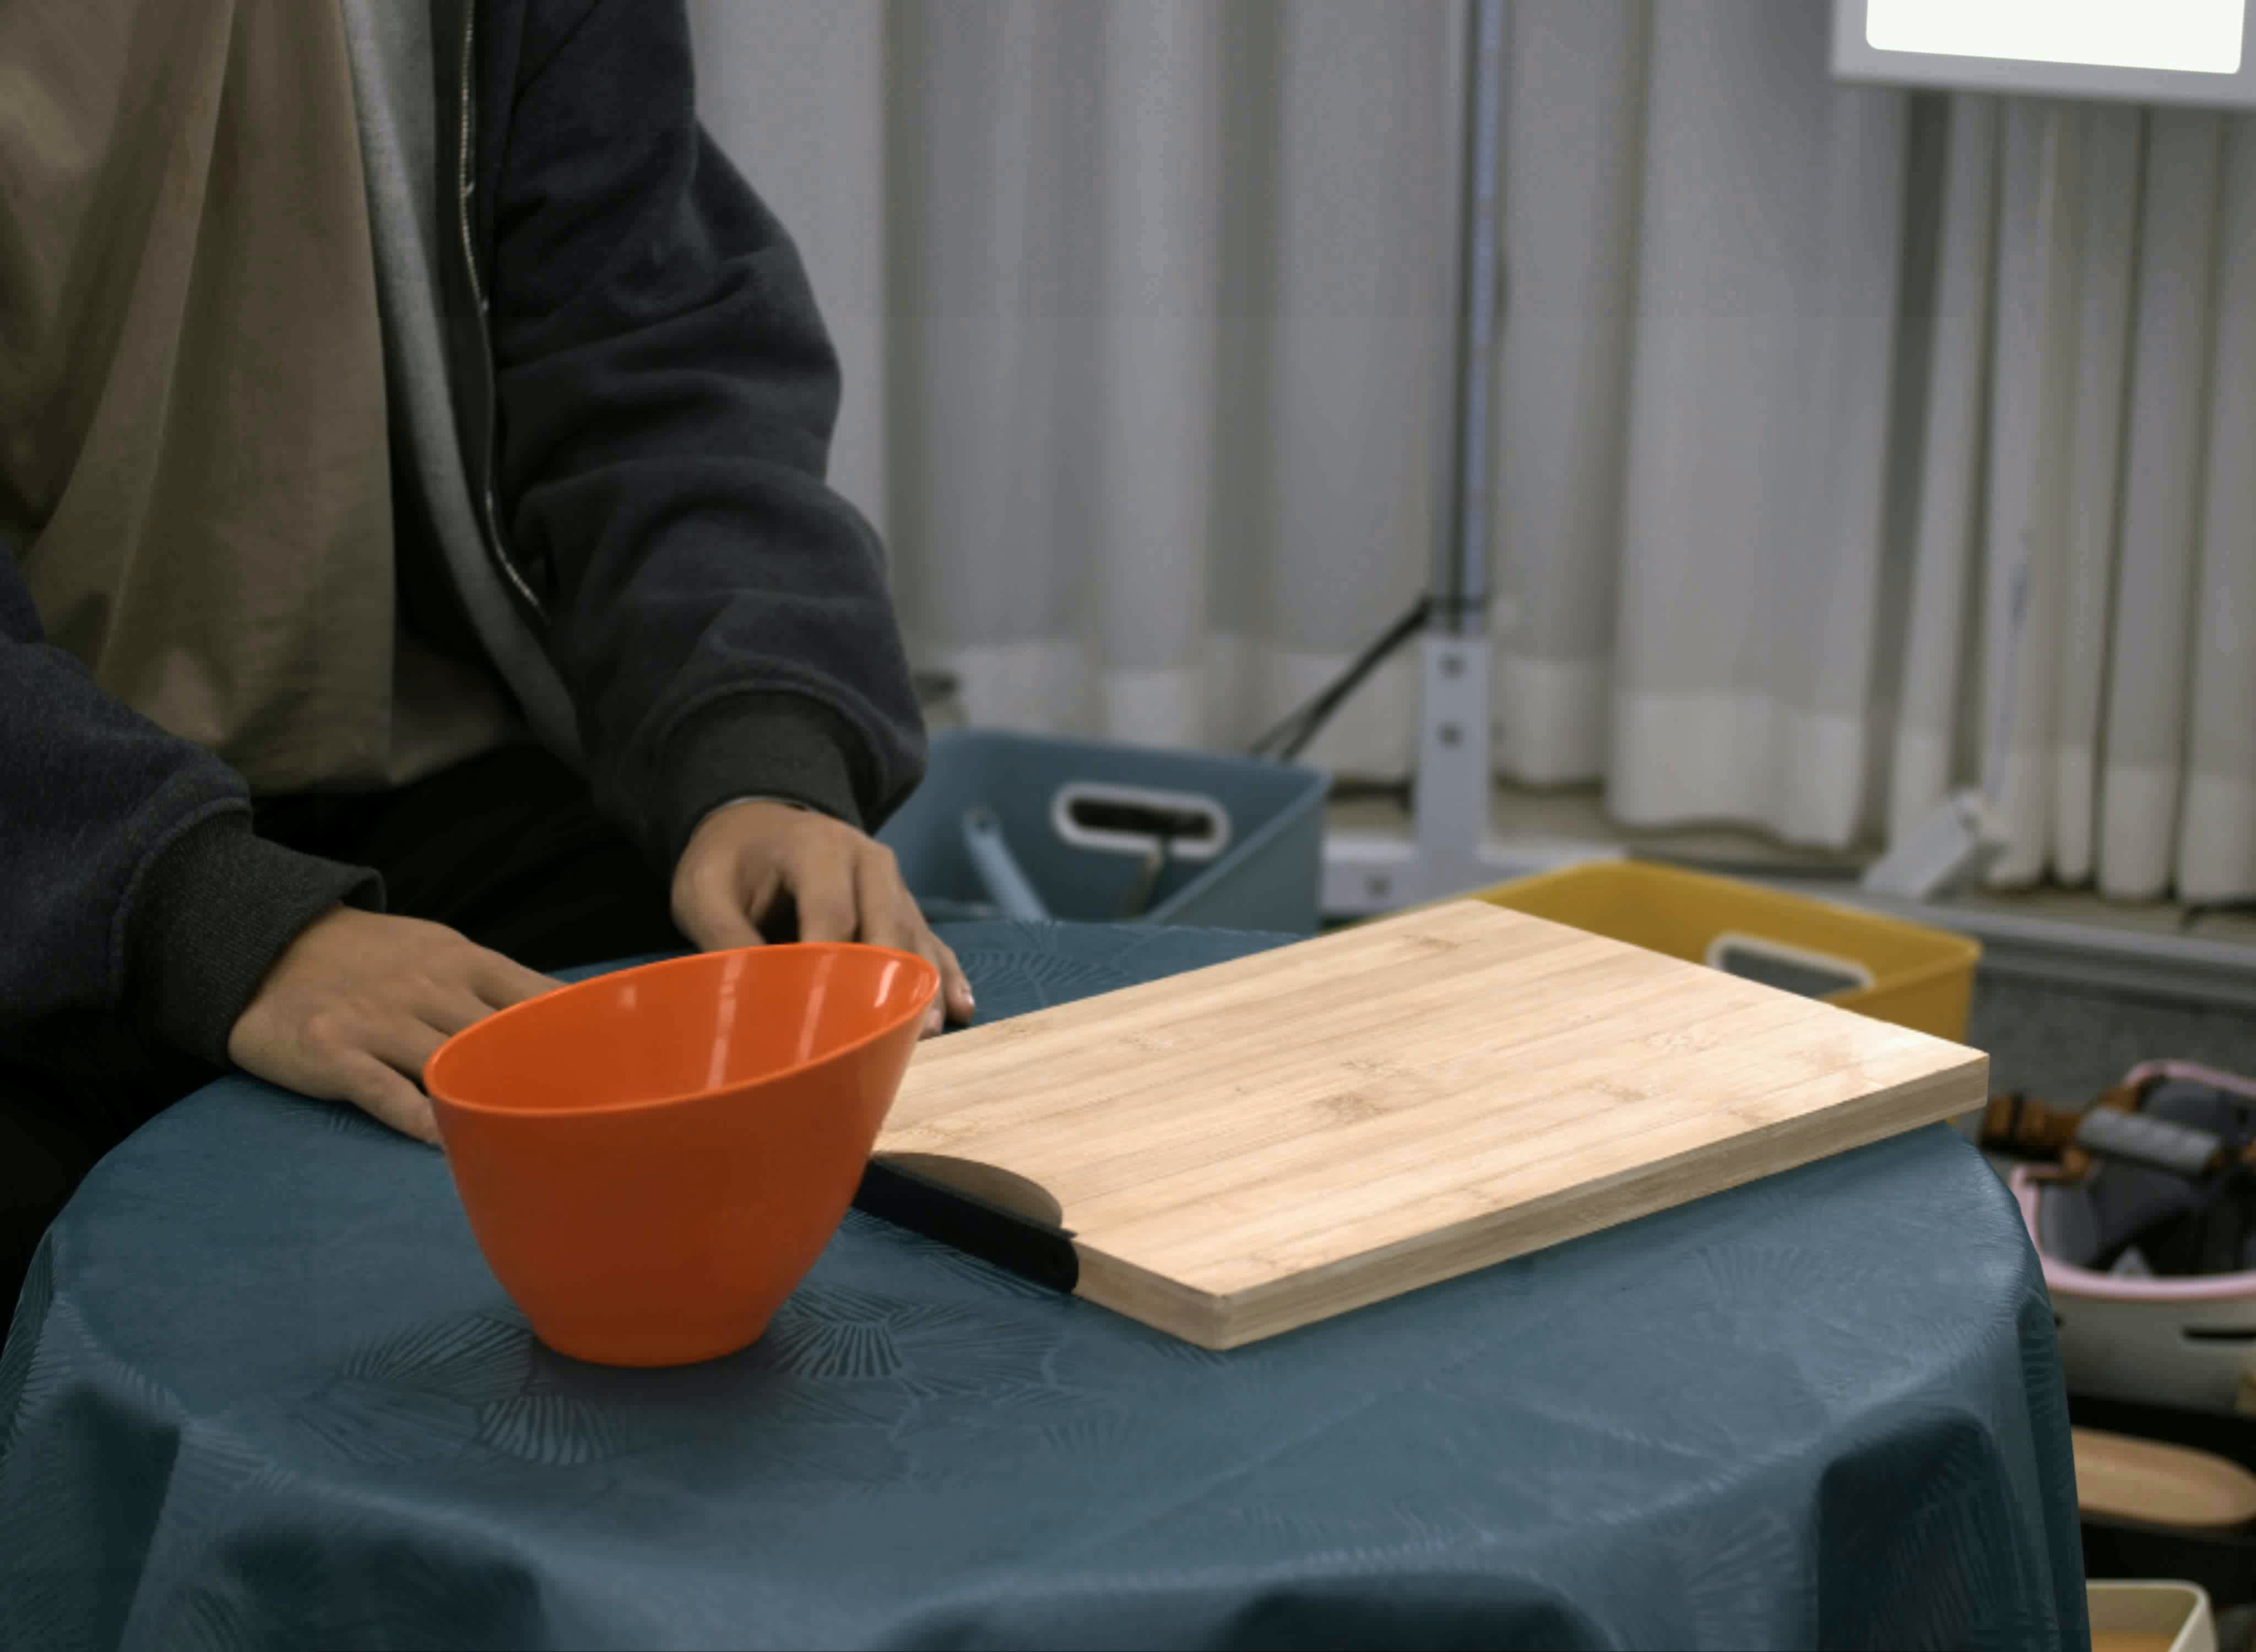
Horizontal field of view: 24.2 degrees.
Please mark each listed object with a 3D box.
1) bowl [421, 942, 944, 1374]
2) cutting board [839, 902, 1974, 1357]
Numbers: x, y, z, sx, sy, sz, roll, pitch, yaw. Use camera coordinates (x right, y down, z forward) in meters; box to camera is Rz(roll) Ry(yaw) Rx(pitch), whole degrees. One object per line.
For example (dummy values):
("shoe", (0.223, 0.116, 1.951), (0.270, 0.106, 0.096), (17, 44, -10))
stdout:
("bowl", (-0.125, 0.095, 1.489), (0.147, 0.105, 0.147), (1, 17, 0))
("cutting board", (0.068, 0.090, 1.678), (0.350, 0.024, 0.247), (-13, 20, -41))
